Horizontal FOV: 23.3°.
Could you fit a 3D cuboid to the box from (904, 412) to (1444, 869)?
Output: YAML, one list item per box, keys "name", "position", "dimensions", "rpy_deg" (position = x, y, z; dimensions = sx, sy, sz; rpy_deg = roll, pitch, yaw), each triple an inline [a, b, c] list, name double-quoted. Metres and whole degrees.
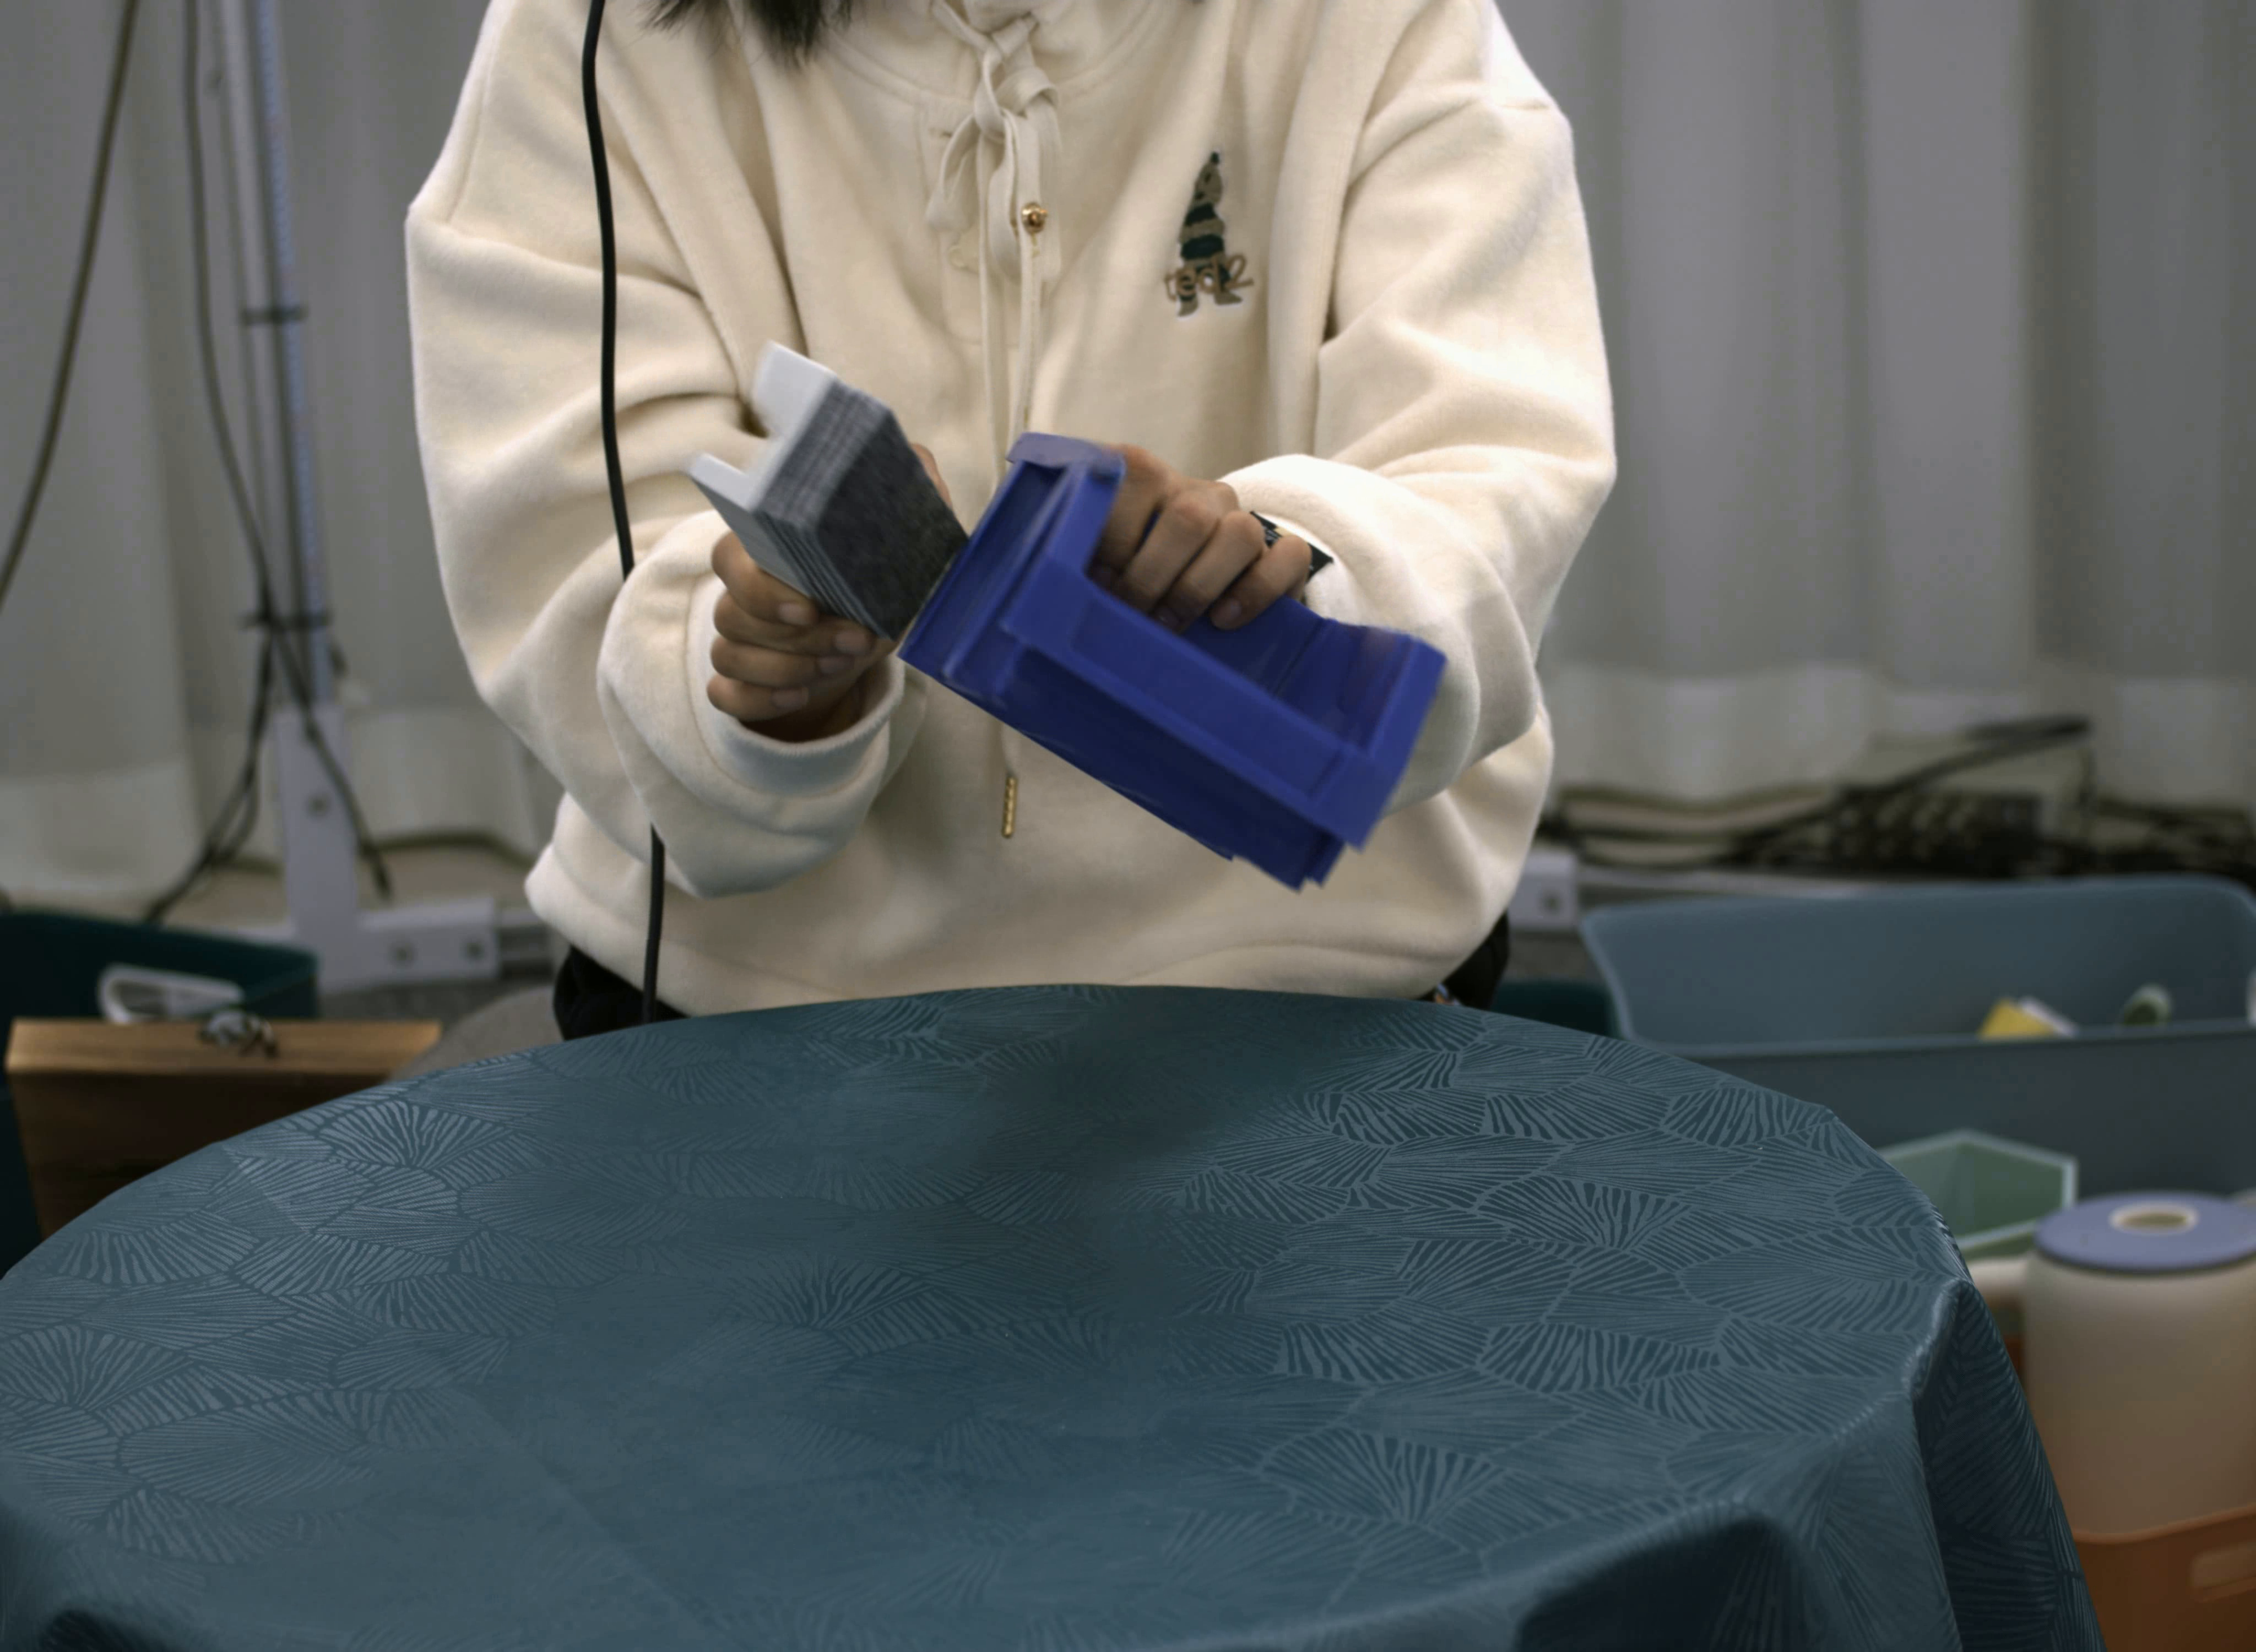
- name: "box"
  position: [0.014, -0.052, 1.597]
  dimensions: [0.124, 0.082, 0.179]
  rpy_deg: [32, -4, -7]

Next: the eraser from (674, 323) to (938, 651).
- name: "eraser"
  position: [-0.096, -0.102, 1.682]
  dimensions: [0.046, 0.050, 0.133]
  rpy_deg: [28, -11, 14]
